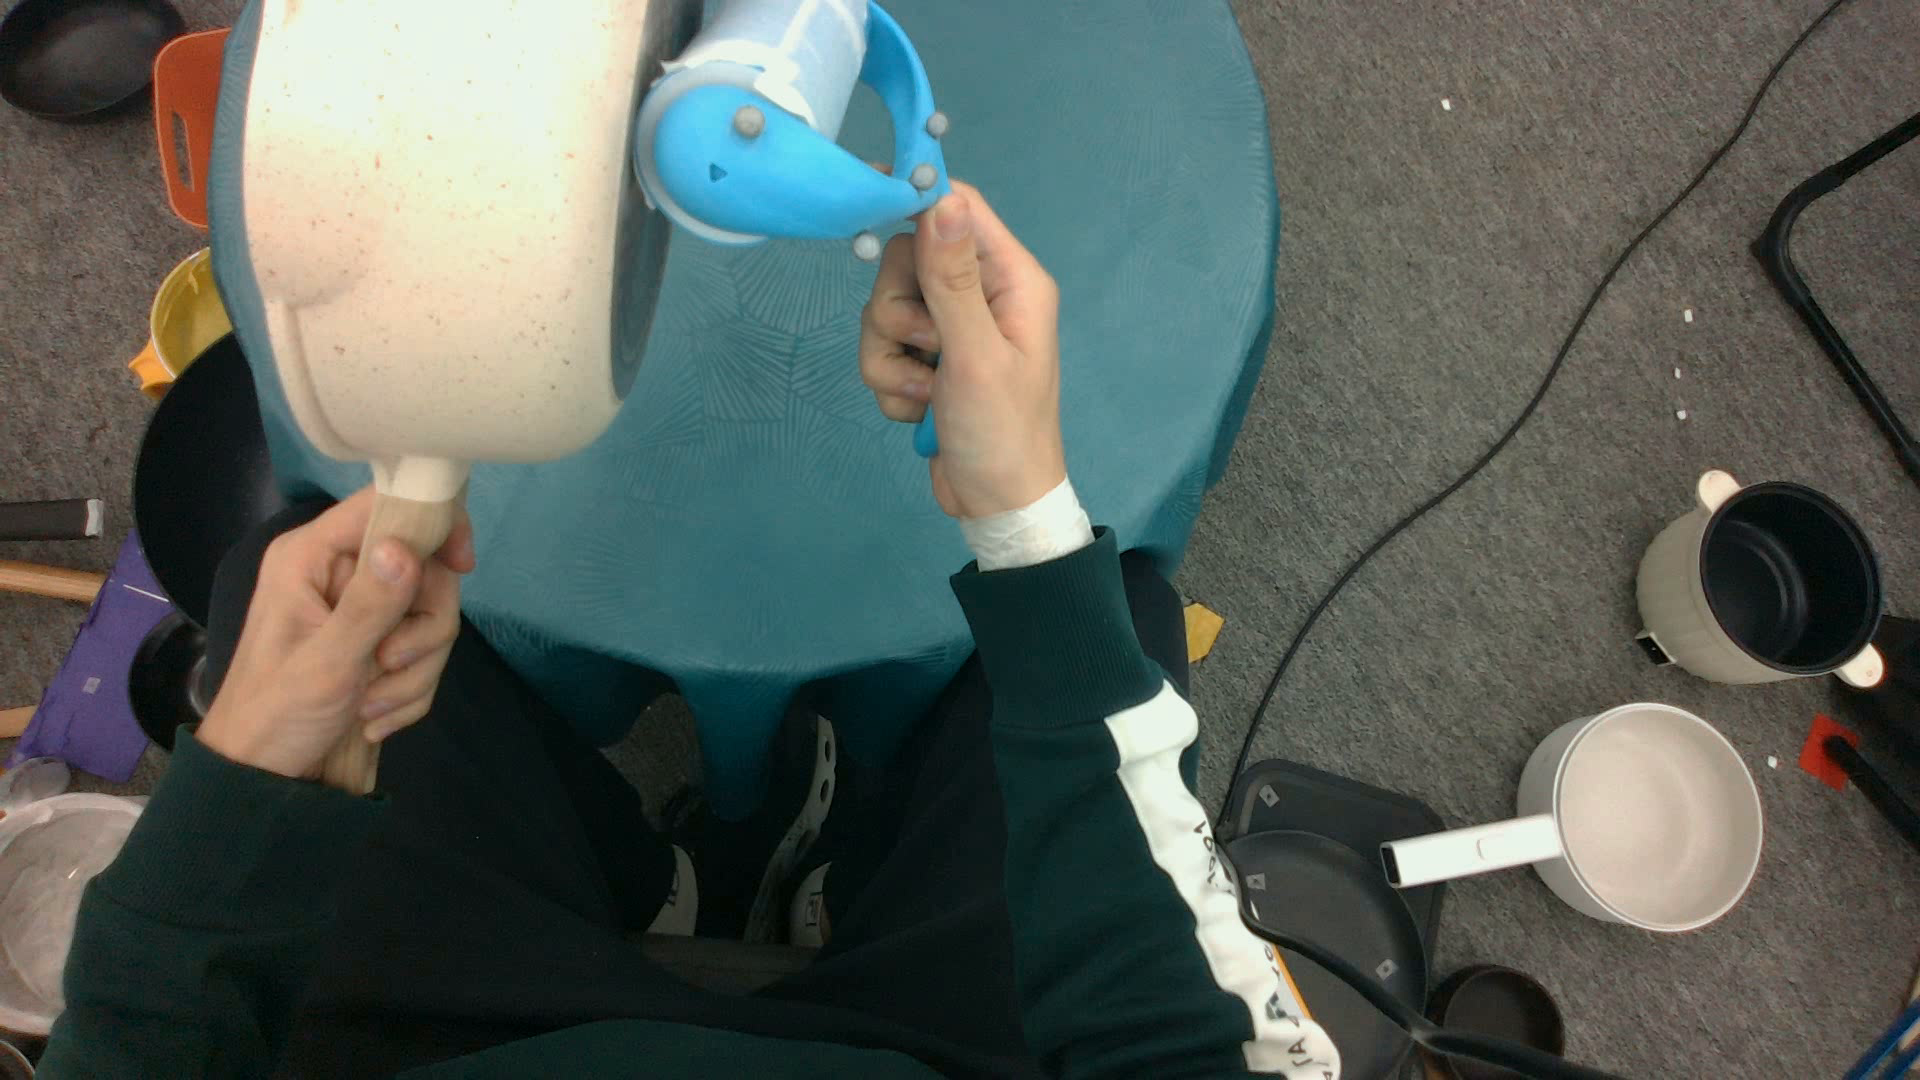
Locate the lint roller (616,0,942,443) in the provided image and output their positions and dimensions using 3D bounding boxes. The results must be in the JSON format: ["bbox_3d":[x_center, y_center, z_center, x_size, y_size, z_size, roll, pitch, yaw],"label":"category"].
[{"bbox_3d":[-0.042,-0.120,0.497,0.068,0.230,0.180,-29,121,13],"label":"lint roller"}]

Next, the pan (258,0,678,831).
[{"bbox_3d":[-0.174,-0.067,0.496,0.102,0.264,0.433,9,116,-11],"label":"pan"}]
